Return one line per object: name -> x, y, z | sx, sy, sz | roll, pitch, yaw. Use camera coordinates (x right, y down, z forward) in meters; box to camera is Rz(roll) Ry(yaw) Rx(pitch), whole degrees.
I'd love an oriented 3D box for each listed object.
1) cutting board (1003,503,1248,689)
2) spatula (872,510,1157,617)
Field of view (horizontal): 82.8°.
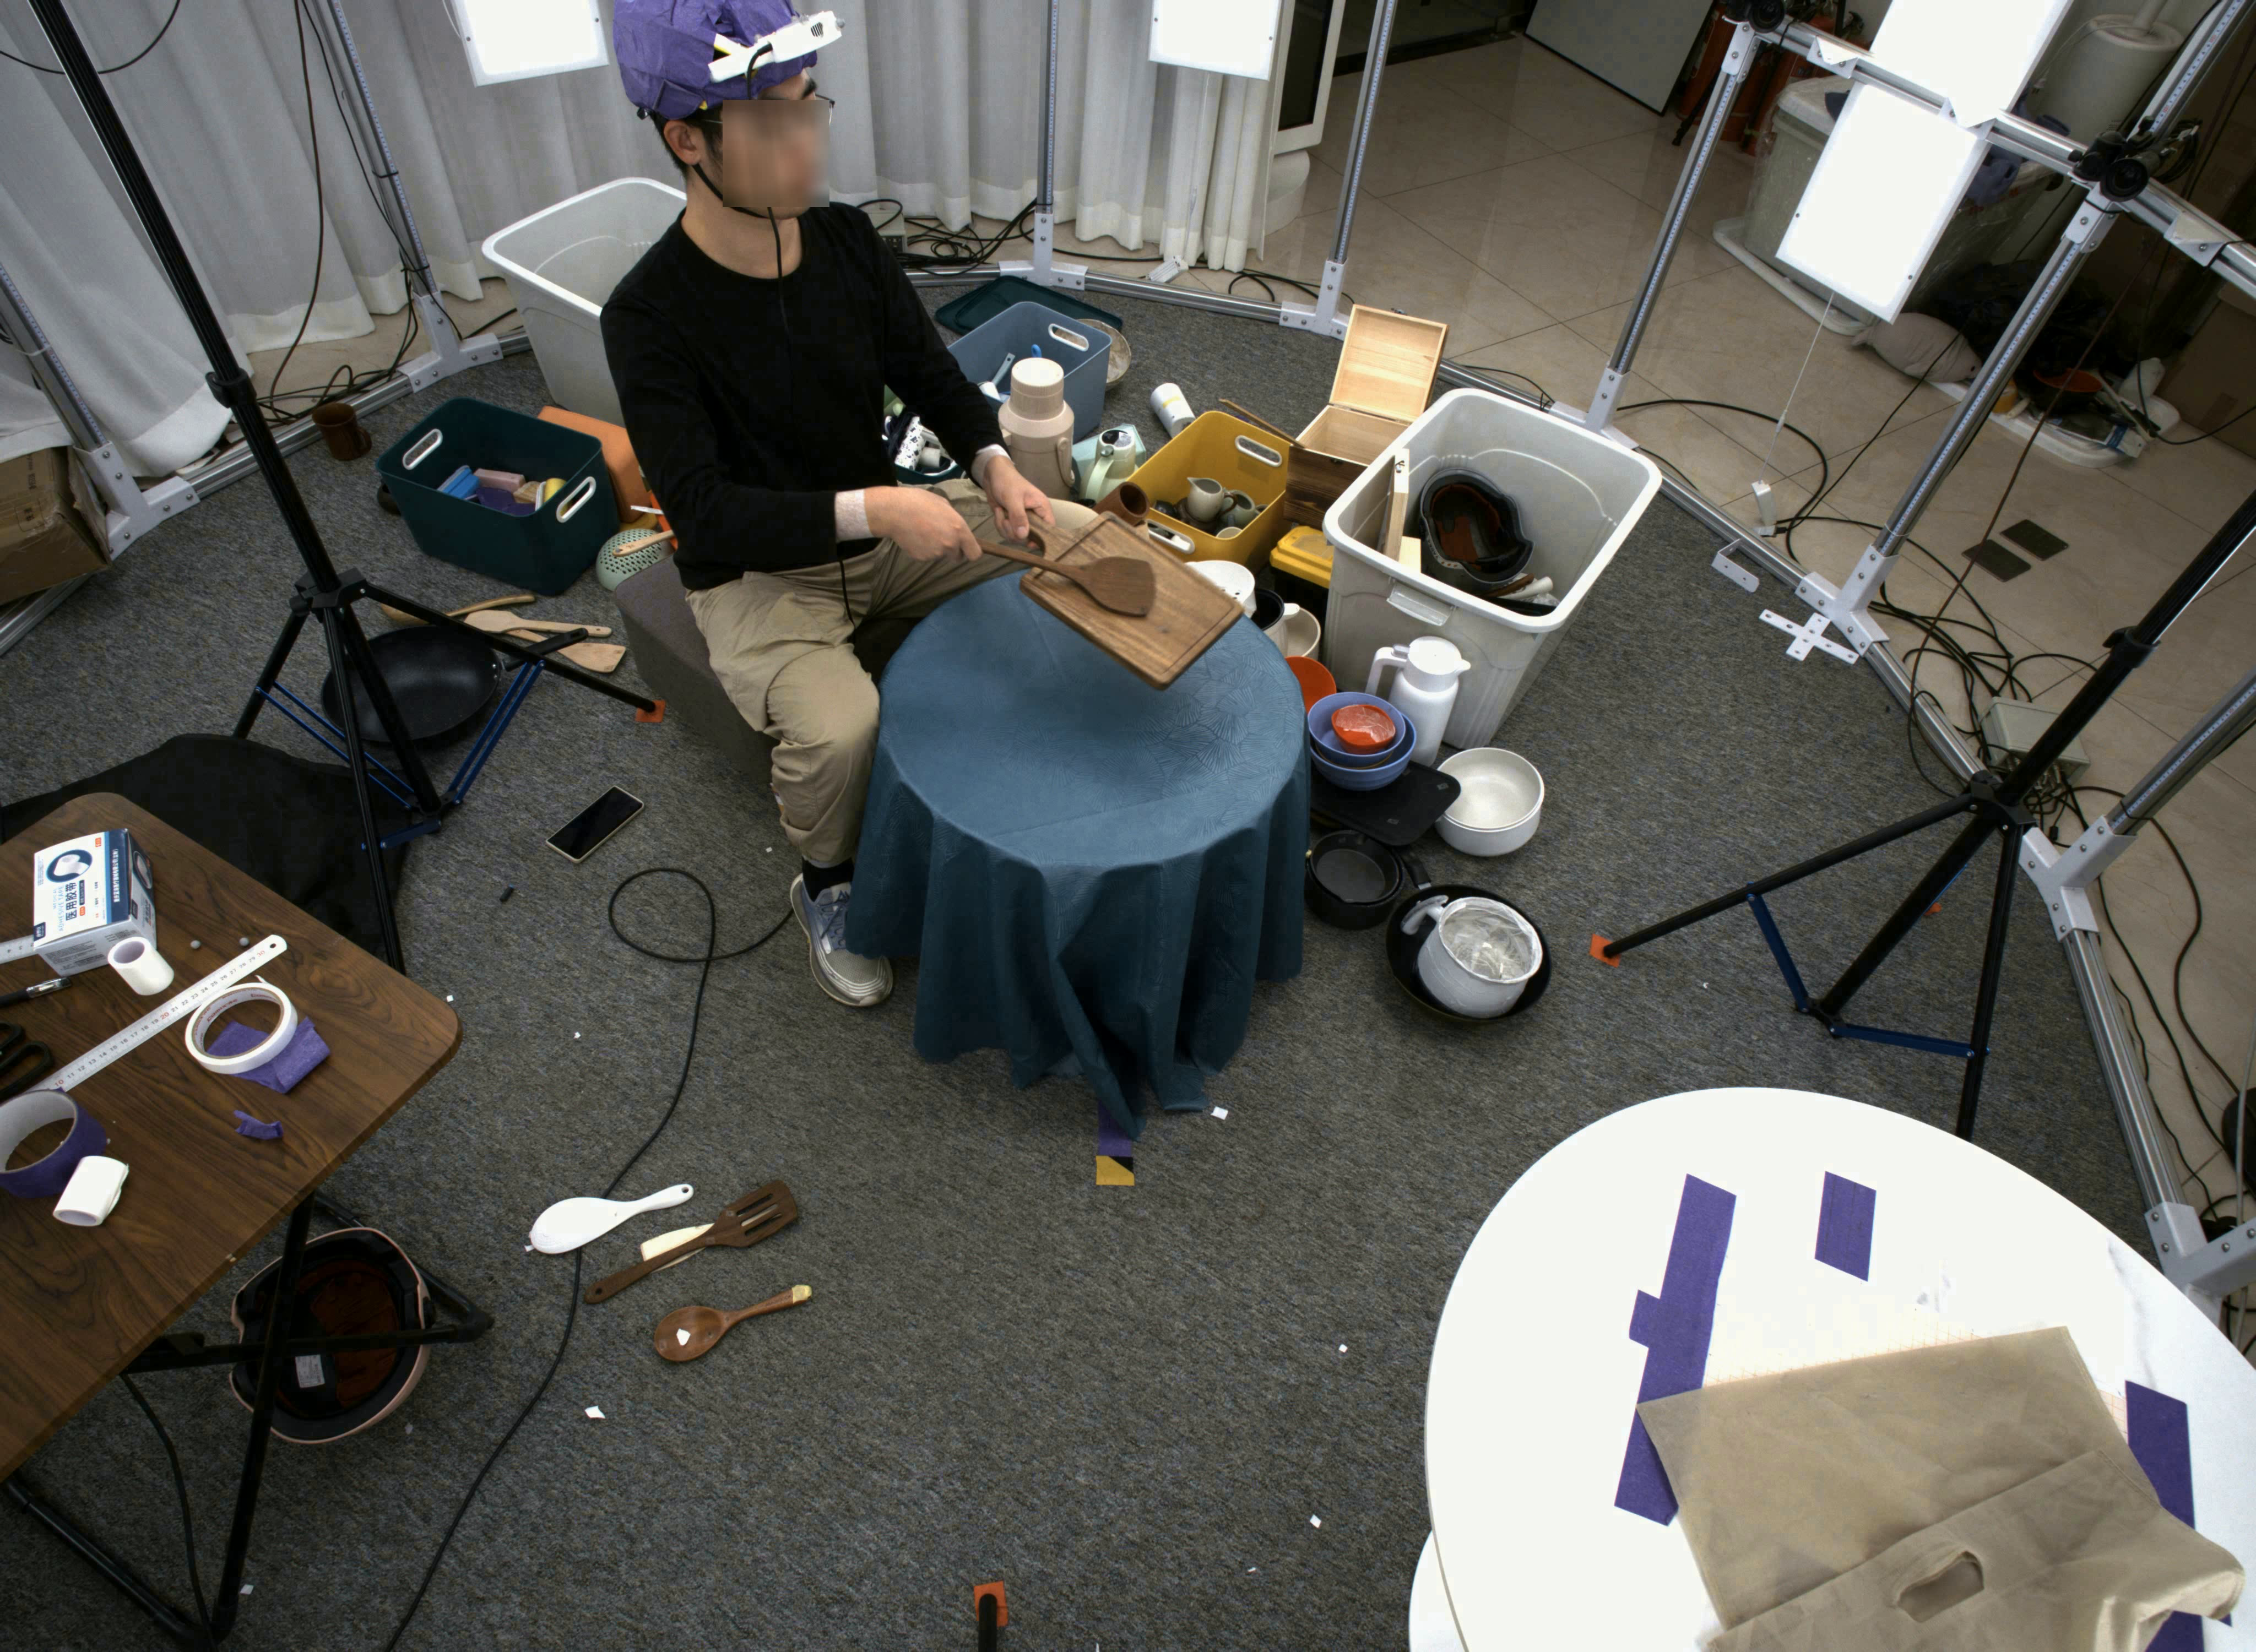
cutting board -> -0.028, -0.341, 1.754 | 0.355, 0.023, 0.203 | 36, 58, 14
spatula -> -0.144, -0.355, 1.700 | 0.384, 0.015, 0.098 | 13, 59, -13
